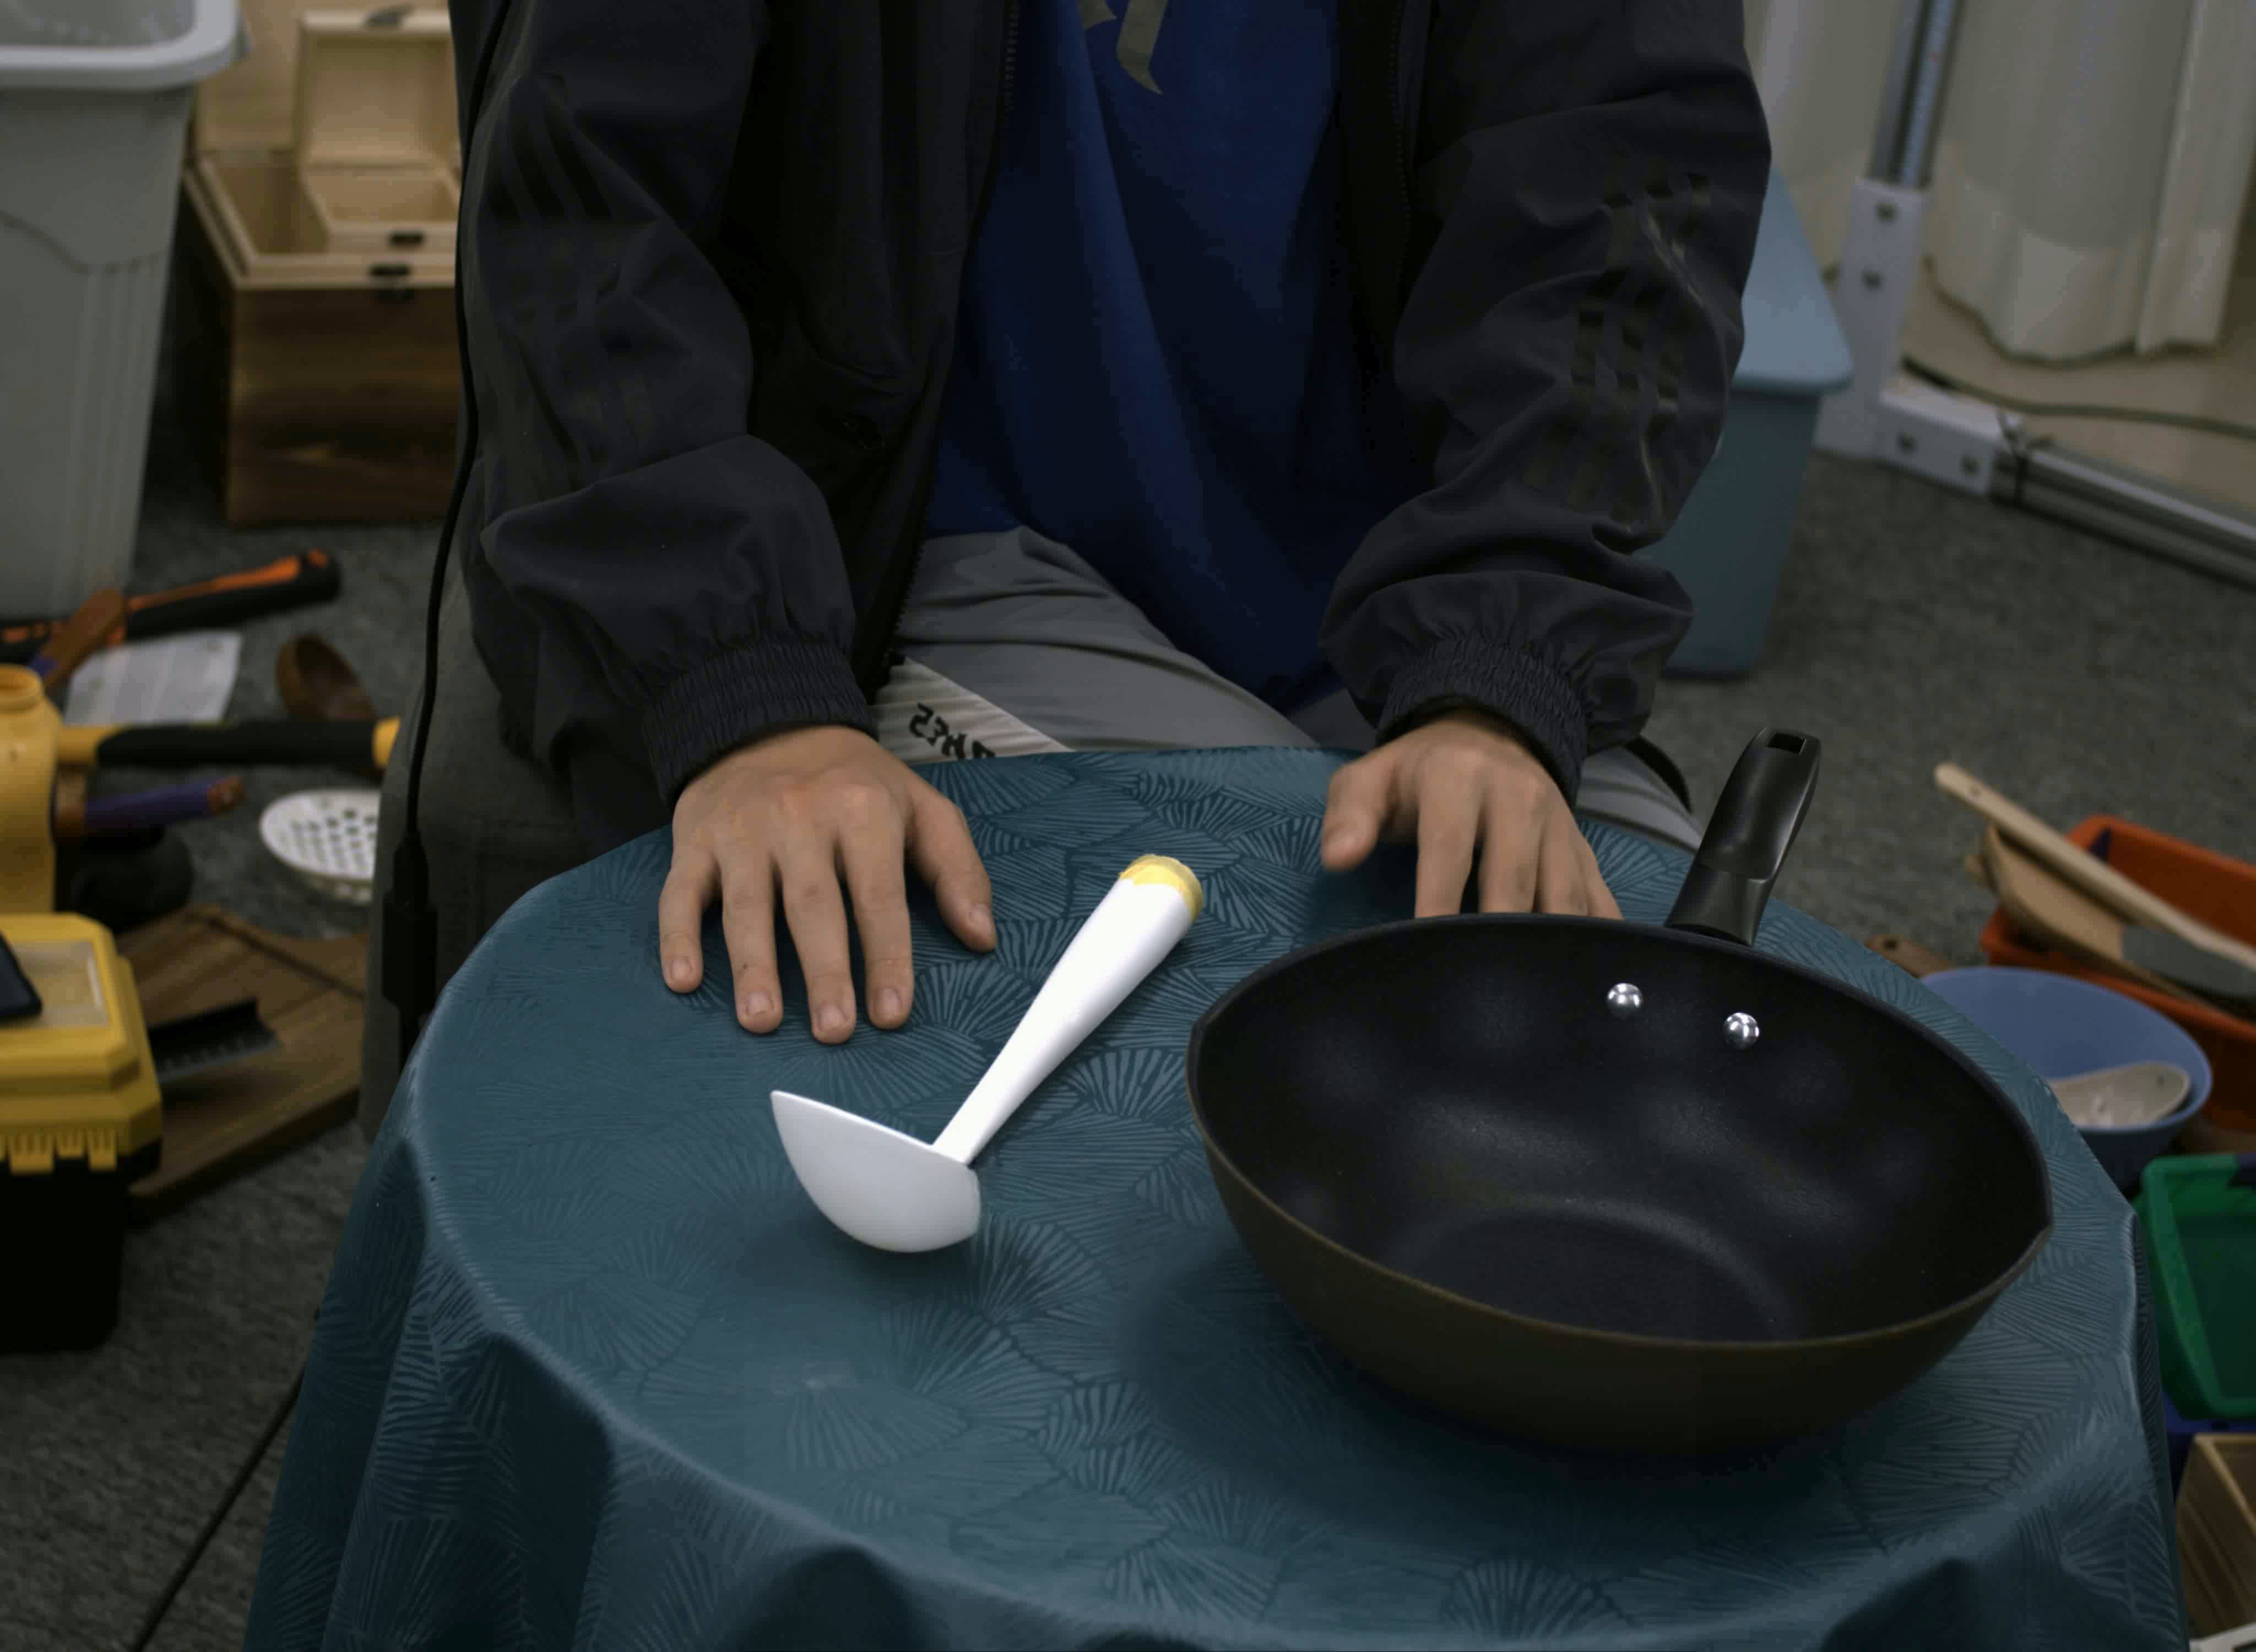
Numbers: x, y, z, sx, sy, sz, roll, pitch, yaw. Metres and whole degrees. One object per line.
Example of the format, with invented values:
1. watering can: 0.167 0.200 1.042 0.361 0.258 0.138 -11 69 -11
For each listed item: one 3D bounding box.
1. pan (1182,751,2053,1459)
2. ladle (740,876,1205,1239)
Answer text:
1. pan: 0.179 0.092 1.817 0.288 0.086 0.464 14 26 12
2. ladle: -0.040 0.067 1.837 0.090 0.070 0.293 14 26 19
